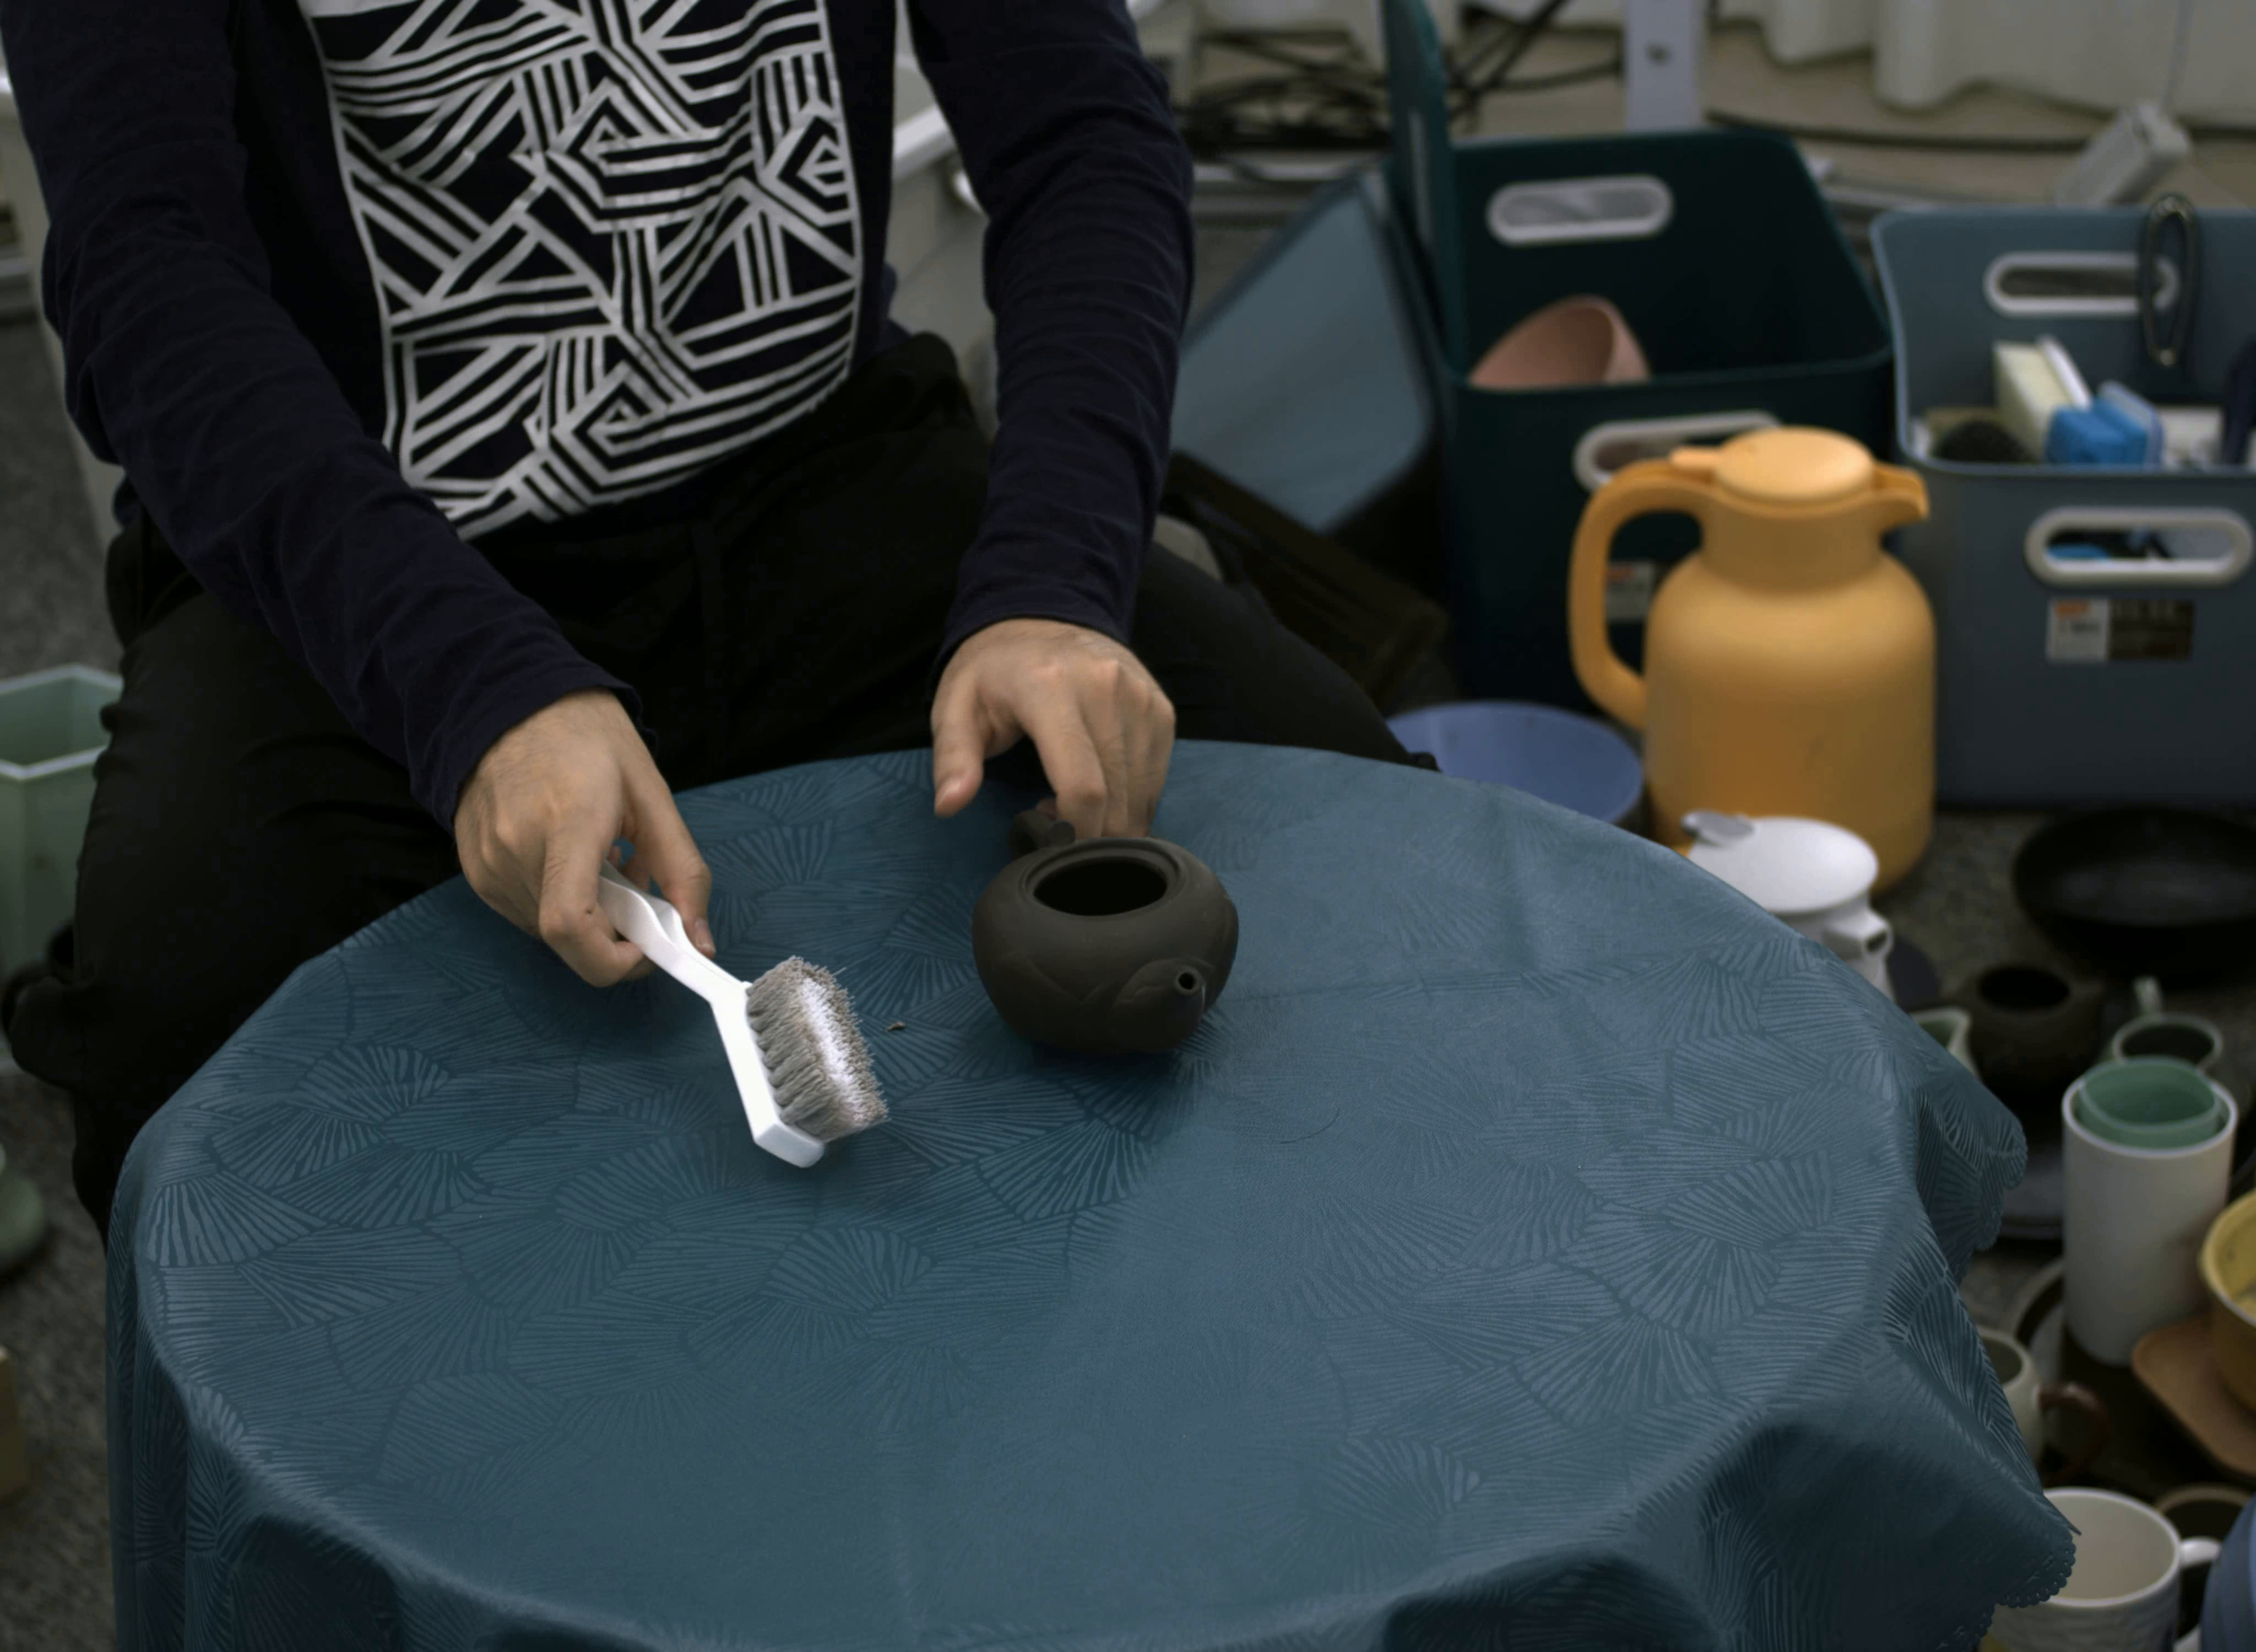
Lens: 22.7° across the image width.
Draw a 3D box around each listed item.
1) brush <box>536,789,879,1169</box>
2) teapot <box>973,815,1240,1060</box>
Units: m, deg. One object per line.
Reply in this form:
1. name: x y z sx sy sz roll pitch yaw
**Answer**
1. brush: -0.148 0.037 1.946 0.034 0.050 0.246 16 22 -36
2. teapot: -0.008 0.041 1.950 0.092 0.064 0.155 -13 28 -18
